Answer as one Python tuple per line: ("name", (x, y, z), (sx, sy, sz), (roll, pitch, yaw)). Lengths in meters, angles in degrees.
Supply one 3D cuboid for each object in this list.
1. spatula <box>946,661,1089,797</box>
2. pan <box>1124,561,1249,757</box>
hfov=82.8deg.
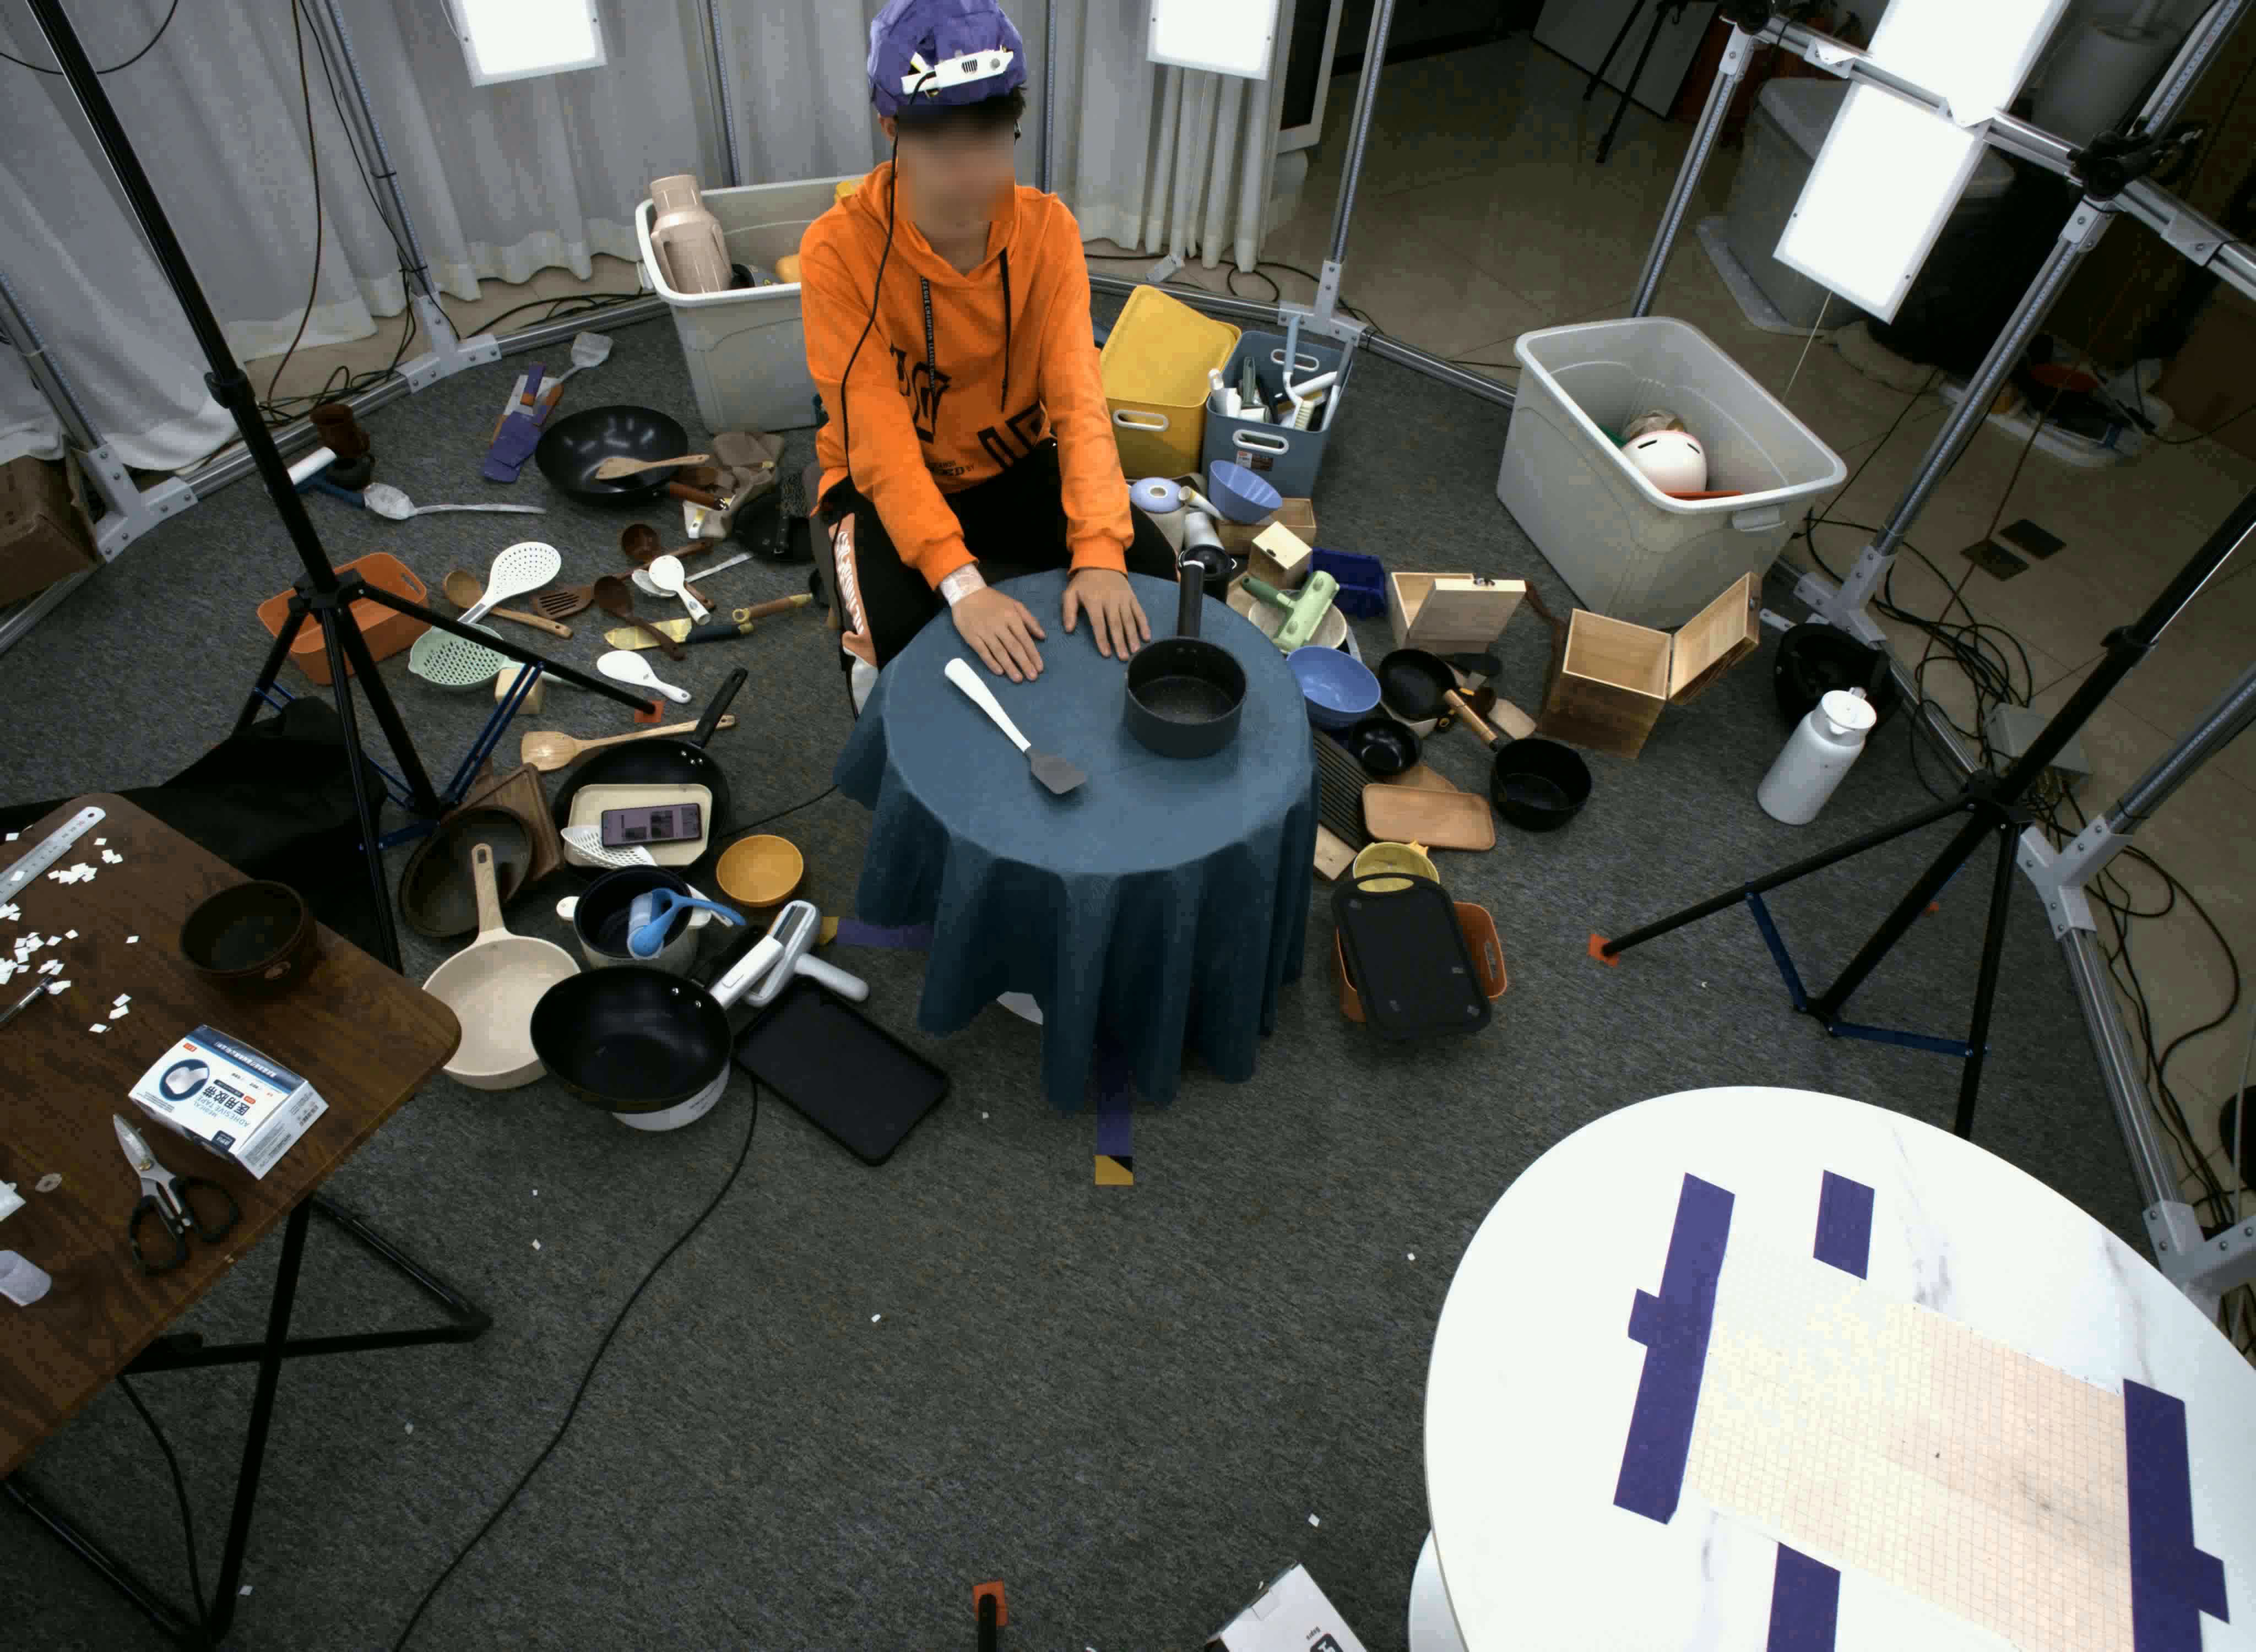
("spatula", (-0.157, -0.132, 1.752), (0.059, 0.031, 0.293), (-26, 55, -28))
("pan", (0.087, -0.241, 1.829), (0.172, 0.084, 0.336), (7, 51, 2))
